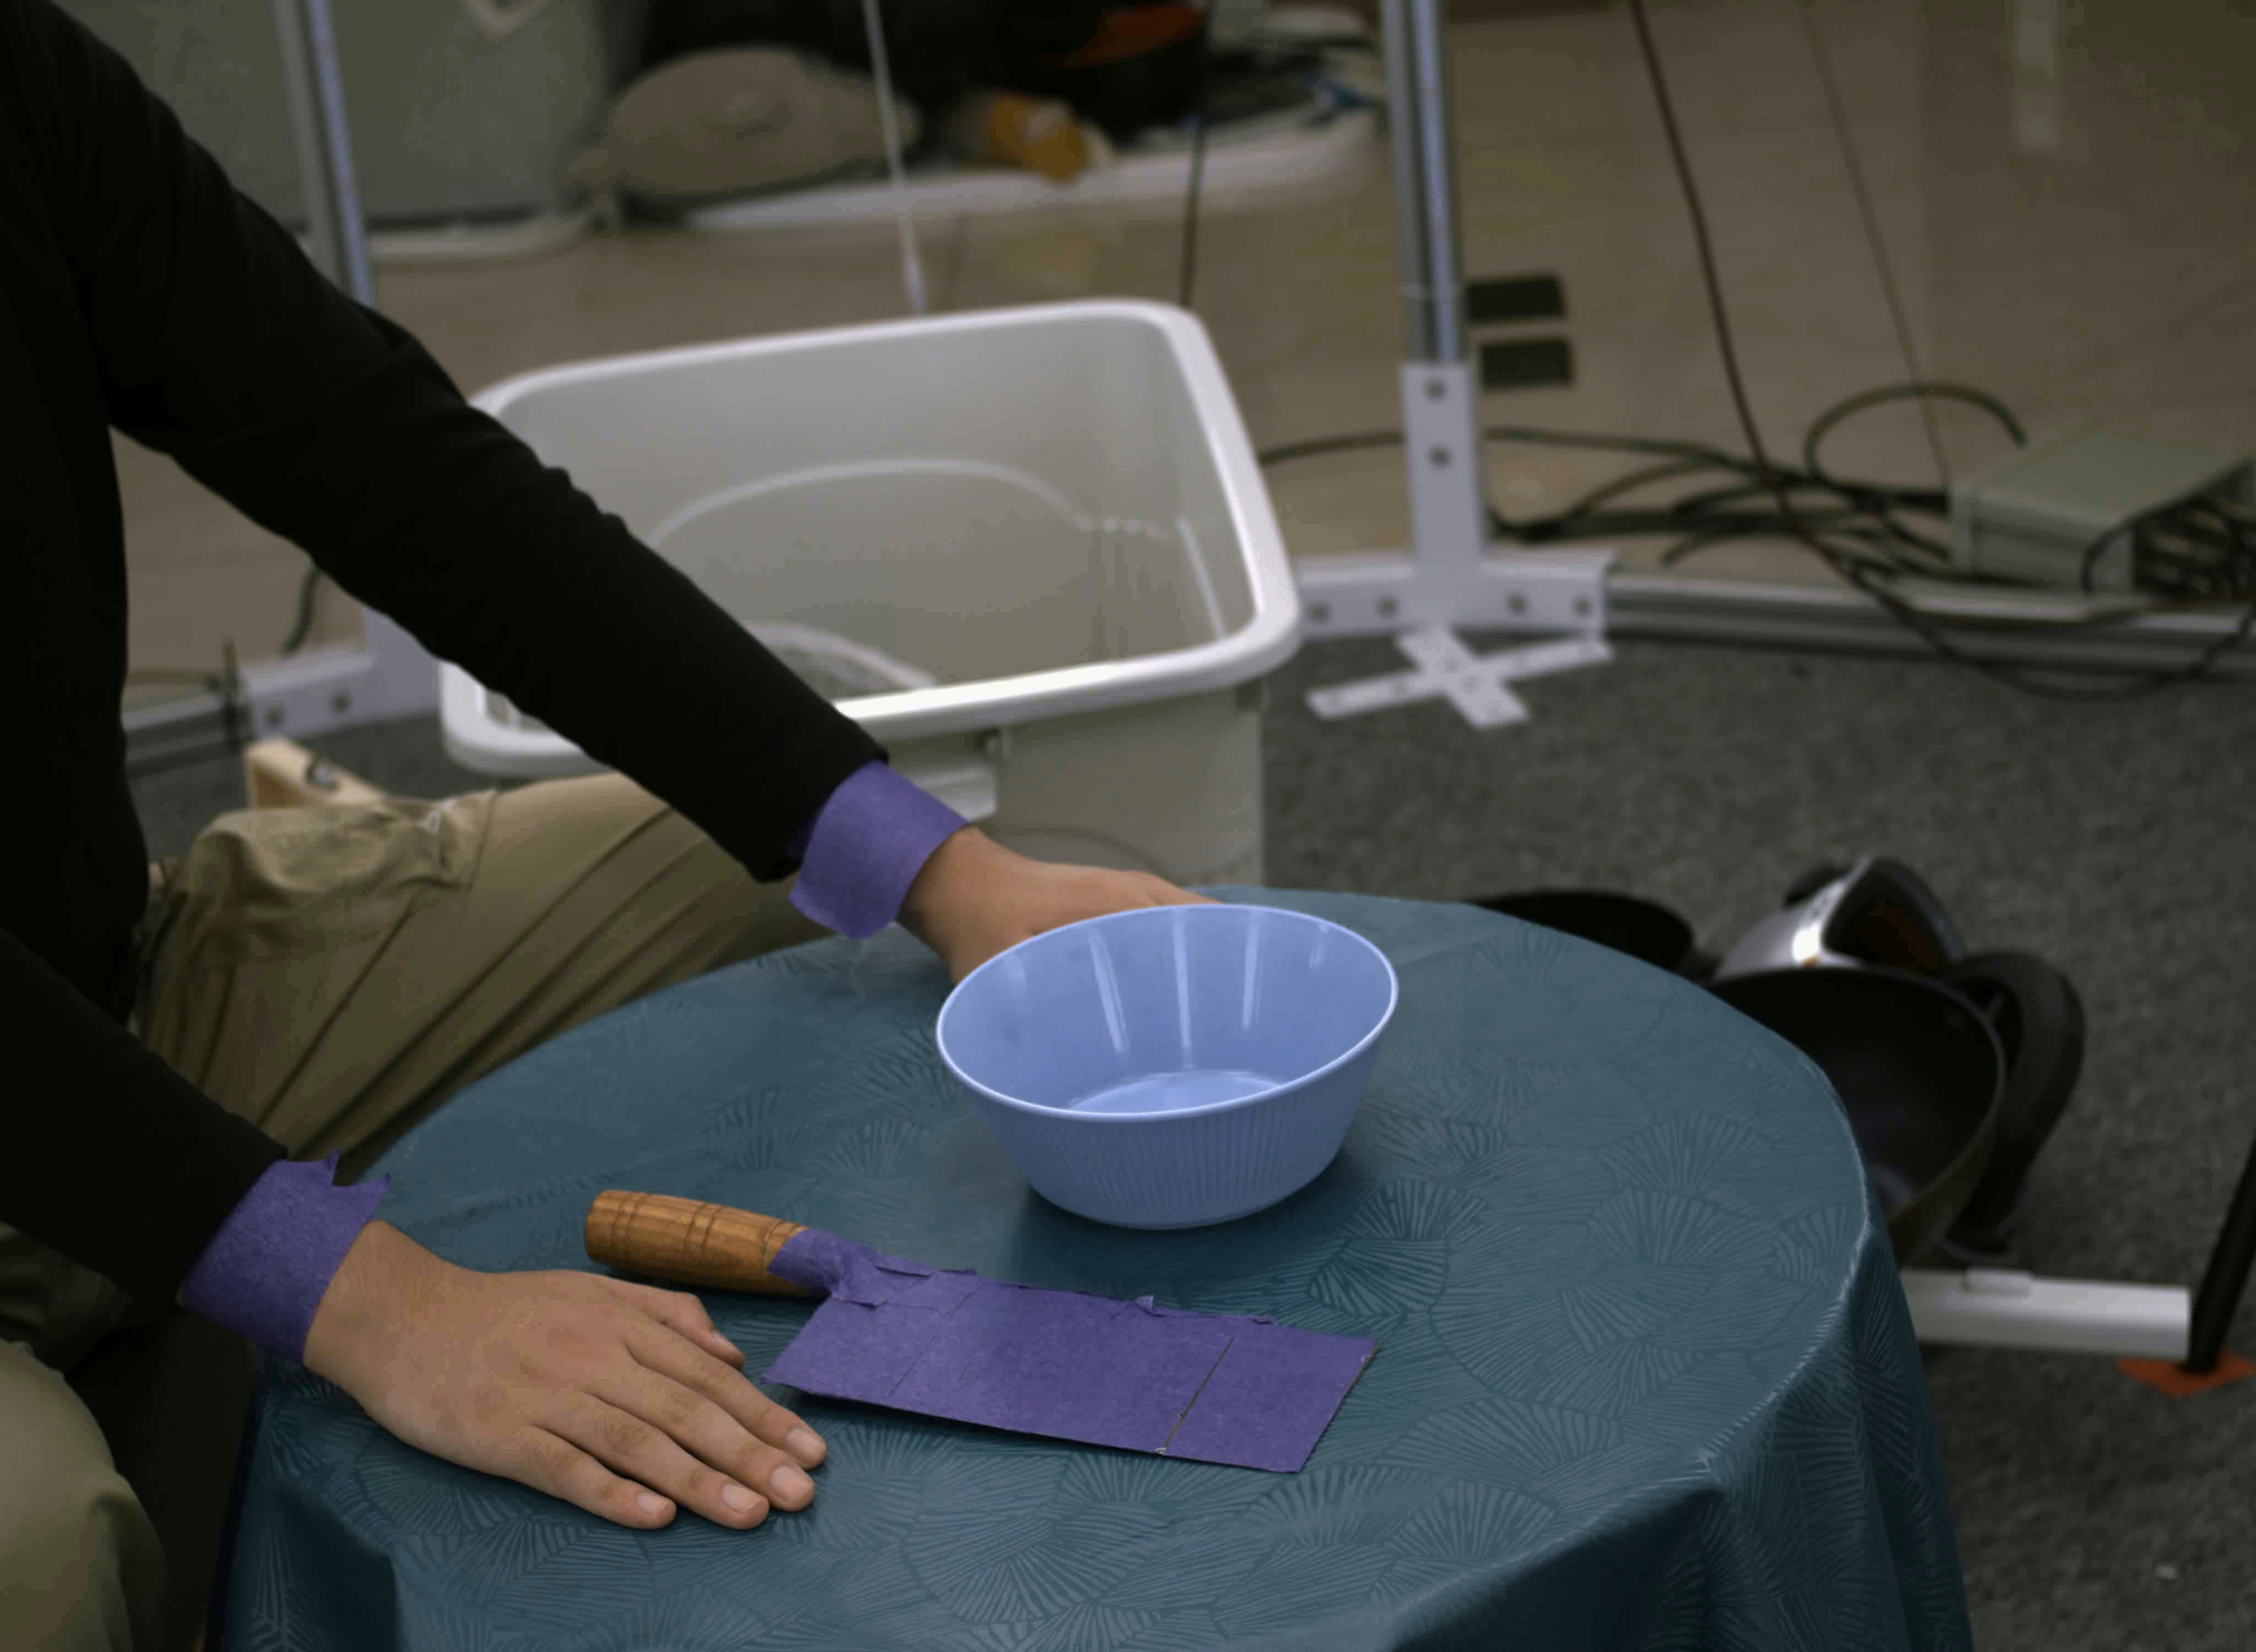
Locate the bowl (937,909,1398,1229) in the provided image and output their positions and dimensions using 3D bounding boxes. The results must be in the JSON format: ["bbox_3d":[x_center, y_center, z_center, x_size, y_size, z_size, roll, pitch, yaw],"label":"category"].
[{"bbox_3d":[0.018,0.098,2.149,0.176,0.071,0.173,-6,24,3],"label":"bowl"}]

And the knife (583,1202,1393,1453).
[{"bbox_3d":[-0.066,0.180,2.046,0.314,0.033,0.102,5,27,22],"label":"knife"}]
